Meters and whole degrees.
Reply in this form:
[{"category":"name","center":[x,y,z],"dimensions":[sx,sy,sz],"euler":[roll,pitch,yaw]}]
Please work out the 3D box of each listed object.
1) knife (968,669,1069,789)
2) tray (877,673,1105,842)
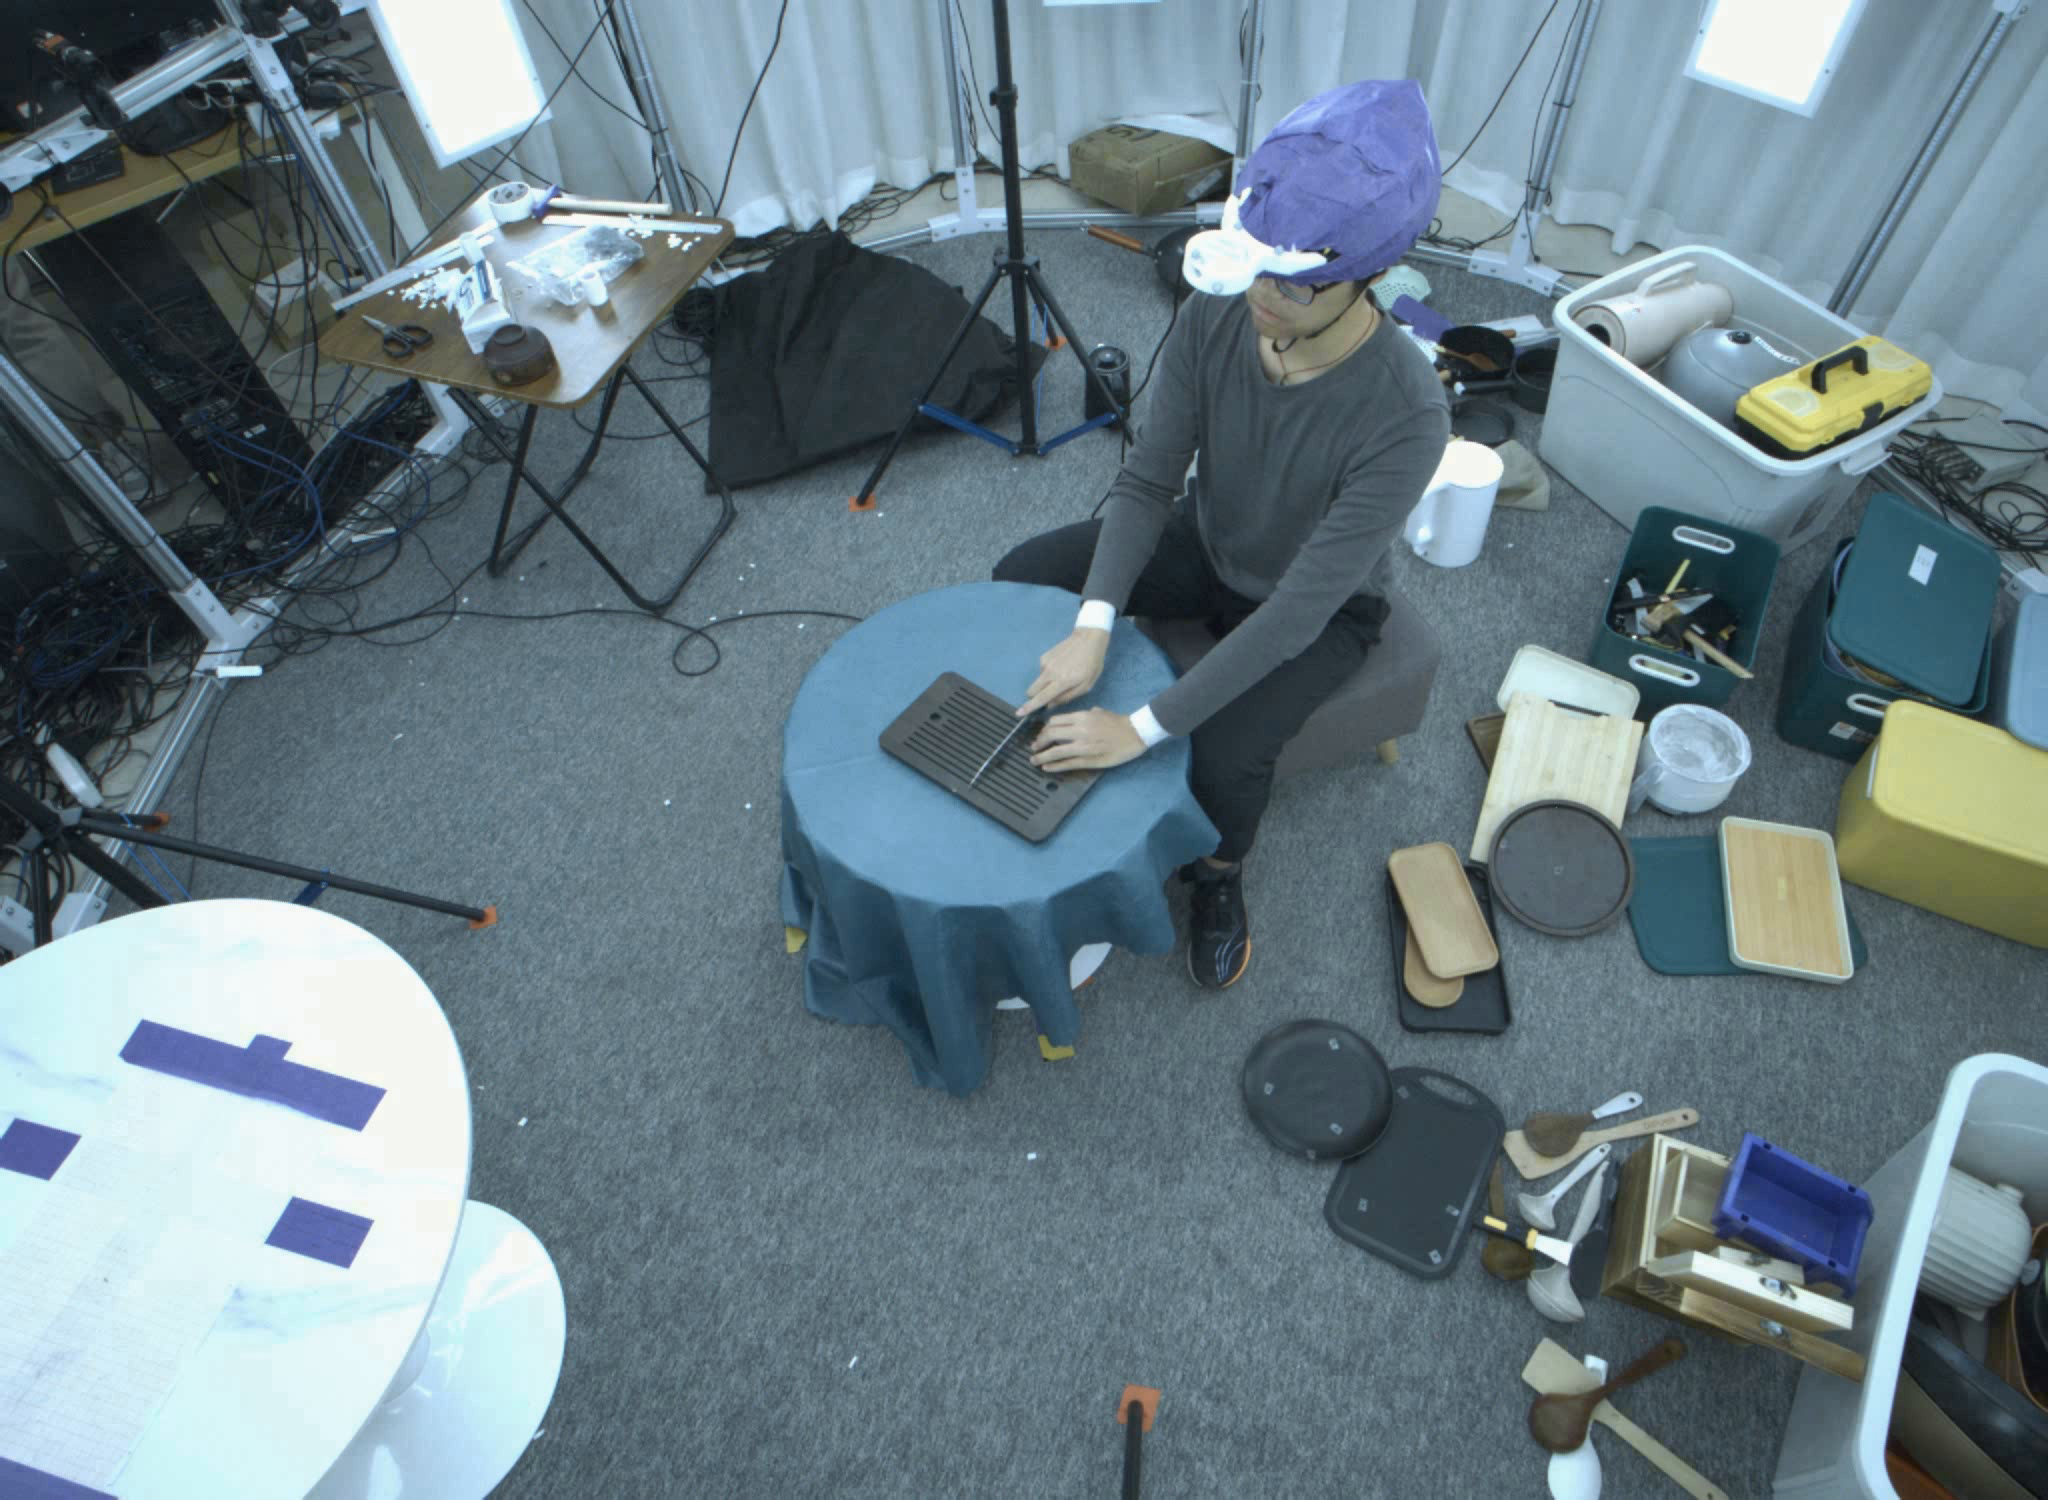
[{"category":"knife","center":[-0.008,-0.032,1.775],"dimensions":[0.016,0.024,0.239],"euler":[33,69,16]},{"category":"tray","center":[-0.049,0.007,1.780],"dimensions":[0.301,0.019,0.171],"euler":[31,60,21]}]
